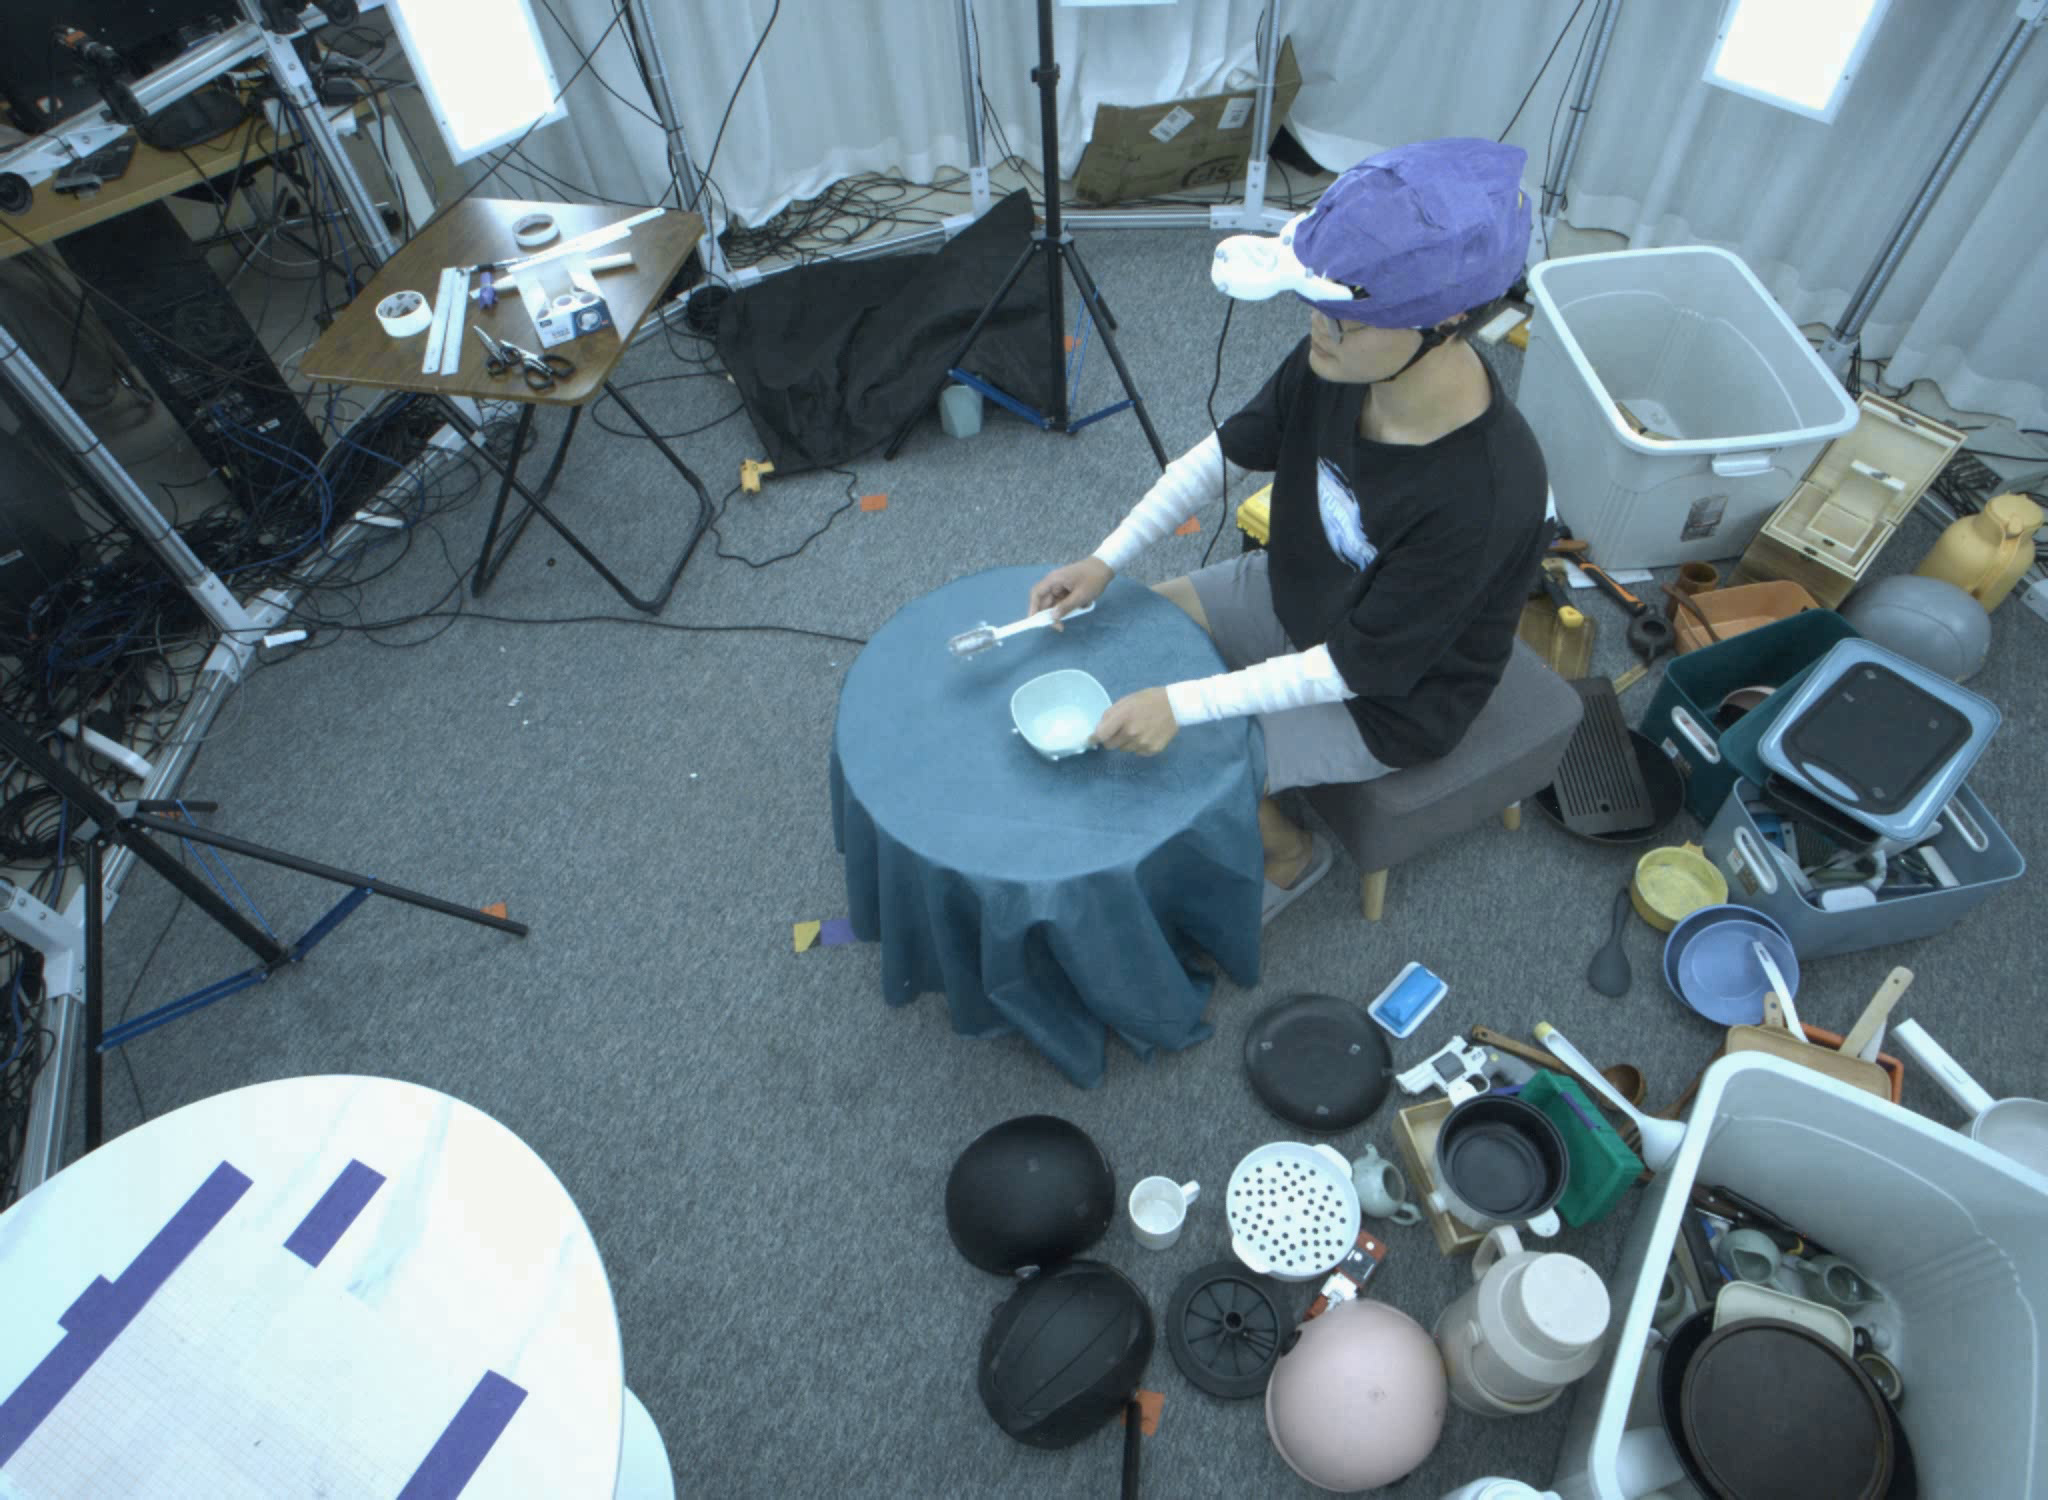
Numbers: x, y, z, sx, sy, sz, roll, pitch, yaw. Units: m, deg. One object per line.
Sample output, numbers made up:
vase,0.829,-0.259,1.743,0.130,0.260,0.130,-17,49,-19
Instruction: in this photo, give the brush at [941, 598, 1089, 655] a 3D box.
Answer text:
brush,-0.009,-0.189,1.841,0.246,0.049,0.034,-17,96,-16

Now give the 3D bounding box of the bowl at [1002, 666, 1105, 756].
bowl,0.043,-0.046,1.775,0.151,0.059,0.150,0,56,2
